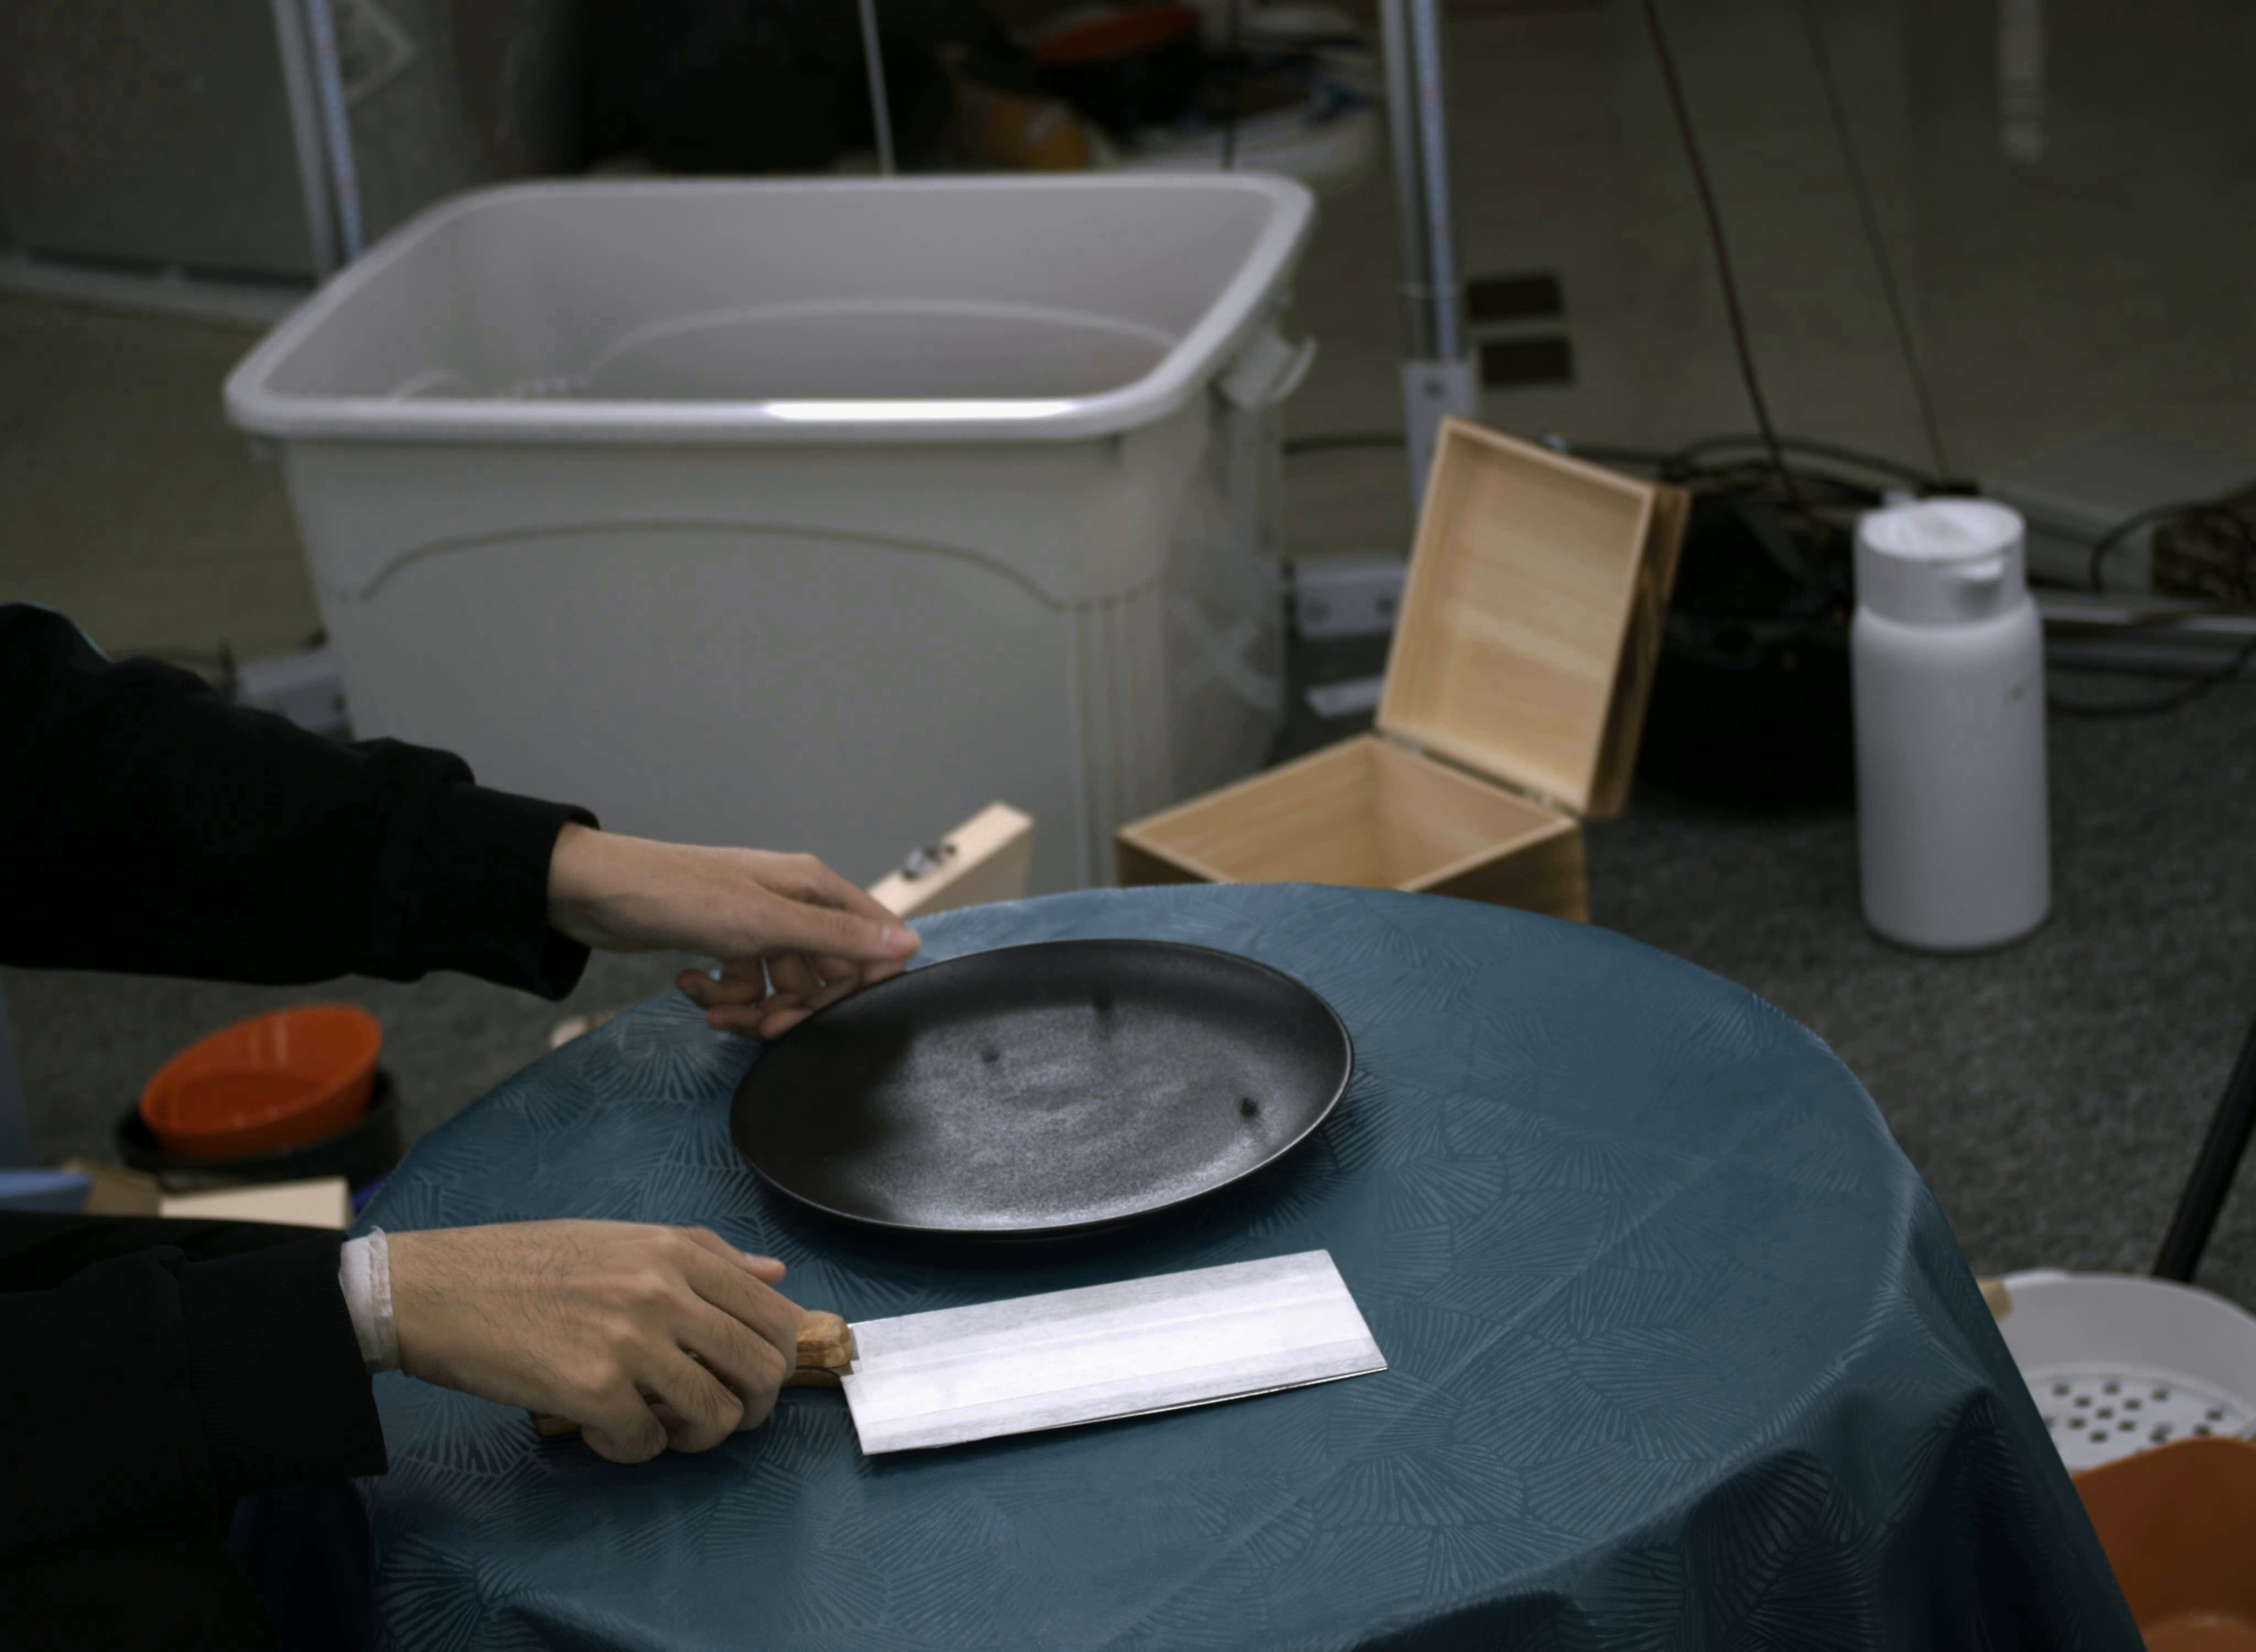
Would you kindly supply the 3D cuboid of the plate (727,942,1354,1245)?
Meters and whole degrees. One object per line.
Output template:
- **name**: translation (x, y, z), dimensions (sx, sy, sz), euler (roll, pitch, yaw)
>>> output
- **plate**: translation (-0.033, 0.108, 2.193), dimensions (0.244, 0.024, 0.241), euler (-5, 25, 3)

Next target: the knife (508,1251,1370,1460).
- **knife**: translation (-0.066, 0.195, 2.025), dimensions (0.305, 0.021, 0.091), euler (-8, 26, -10)
